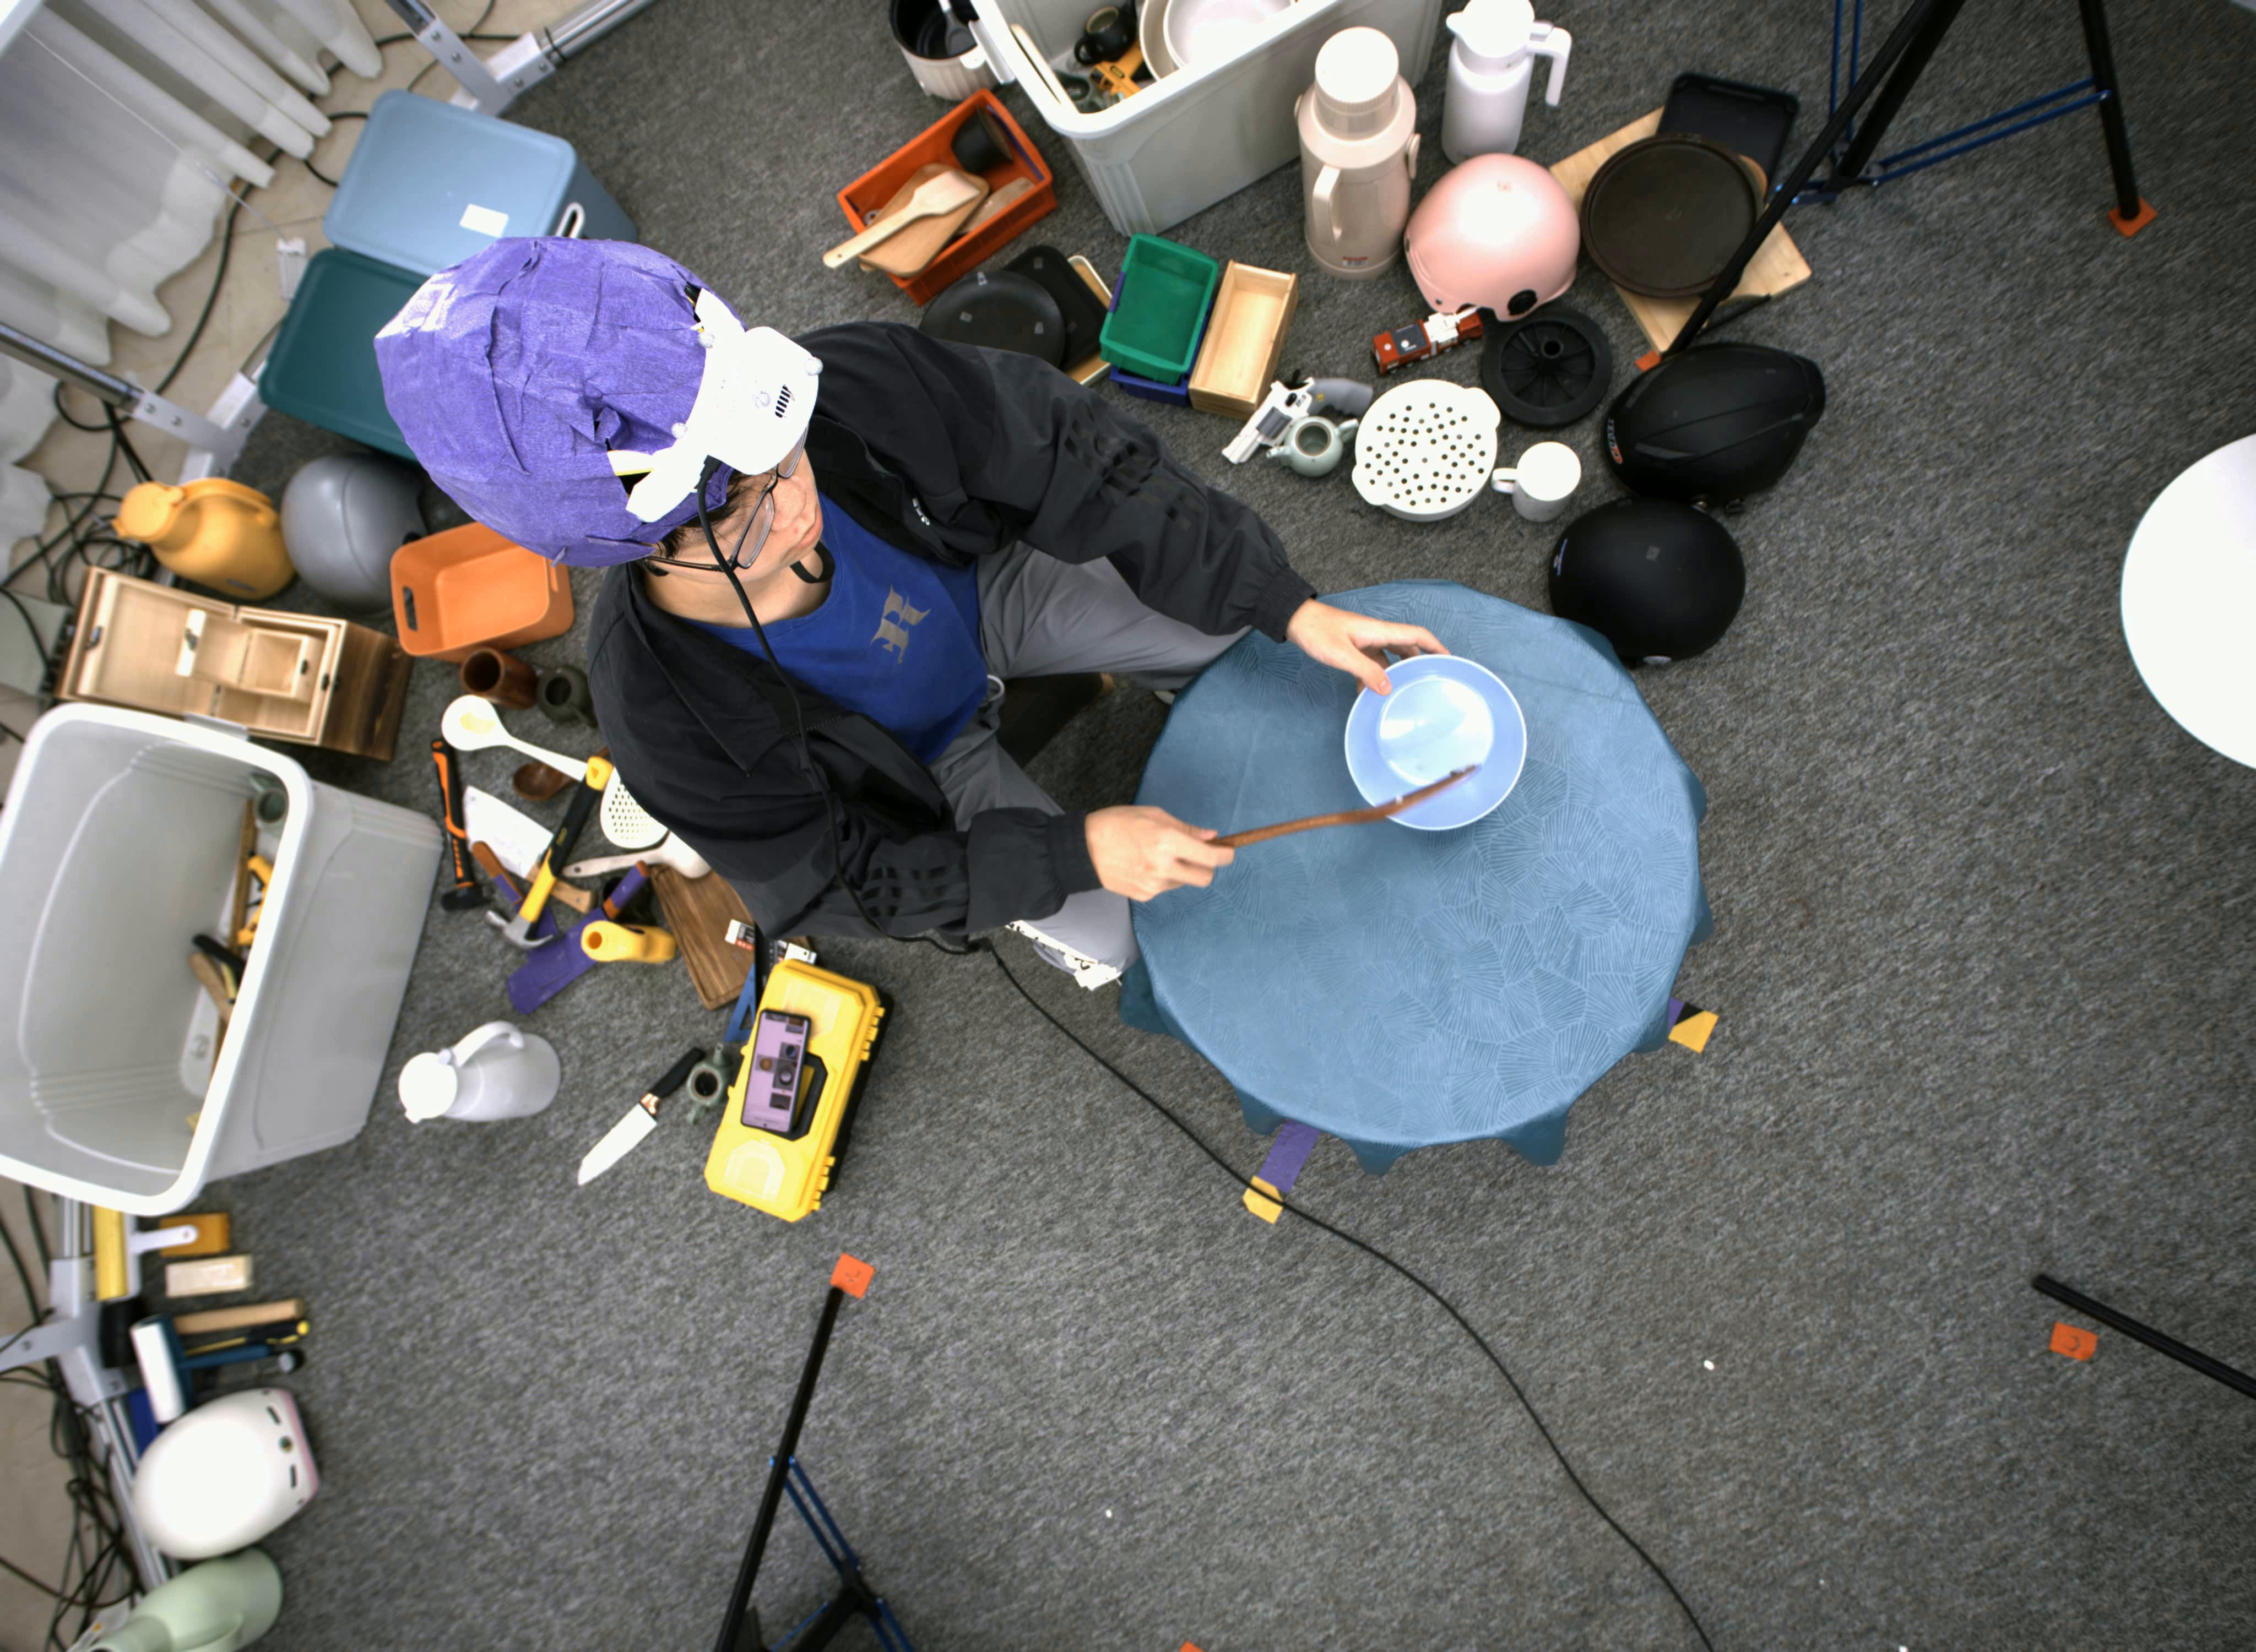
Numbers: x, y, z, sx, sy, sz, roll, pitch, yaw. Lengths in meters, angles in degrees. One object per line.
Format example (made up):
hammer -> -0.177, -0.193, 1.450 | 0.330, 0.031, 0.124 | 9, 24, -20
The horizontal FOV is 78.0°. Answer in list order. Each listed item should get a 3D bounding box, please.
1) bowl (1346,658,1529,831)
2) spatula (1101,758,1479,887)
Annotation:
bowl -> 0.309, -0.088, 1.373 | 0.176, 0.069, 0.179 | 4, 109, 13
spatula -> 0.150, 0.002, 1.325 | 0.390, 0.085, 0.024 | -17, 88, 19
